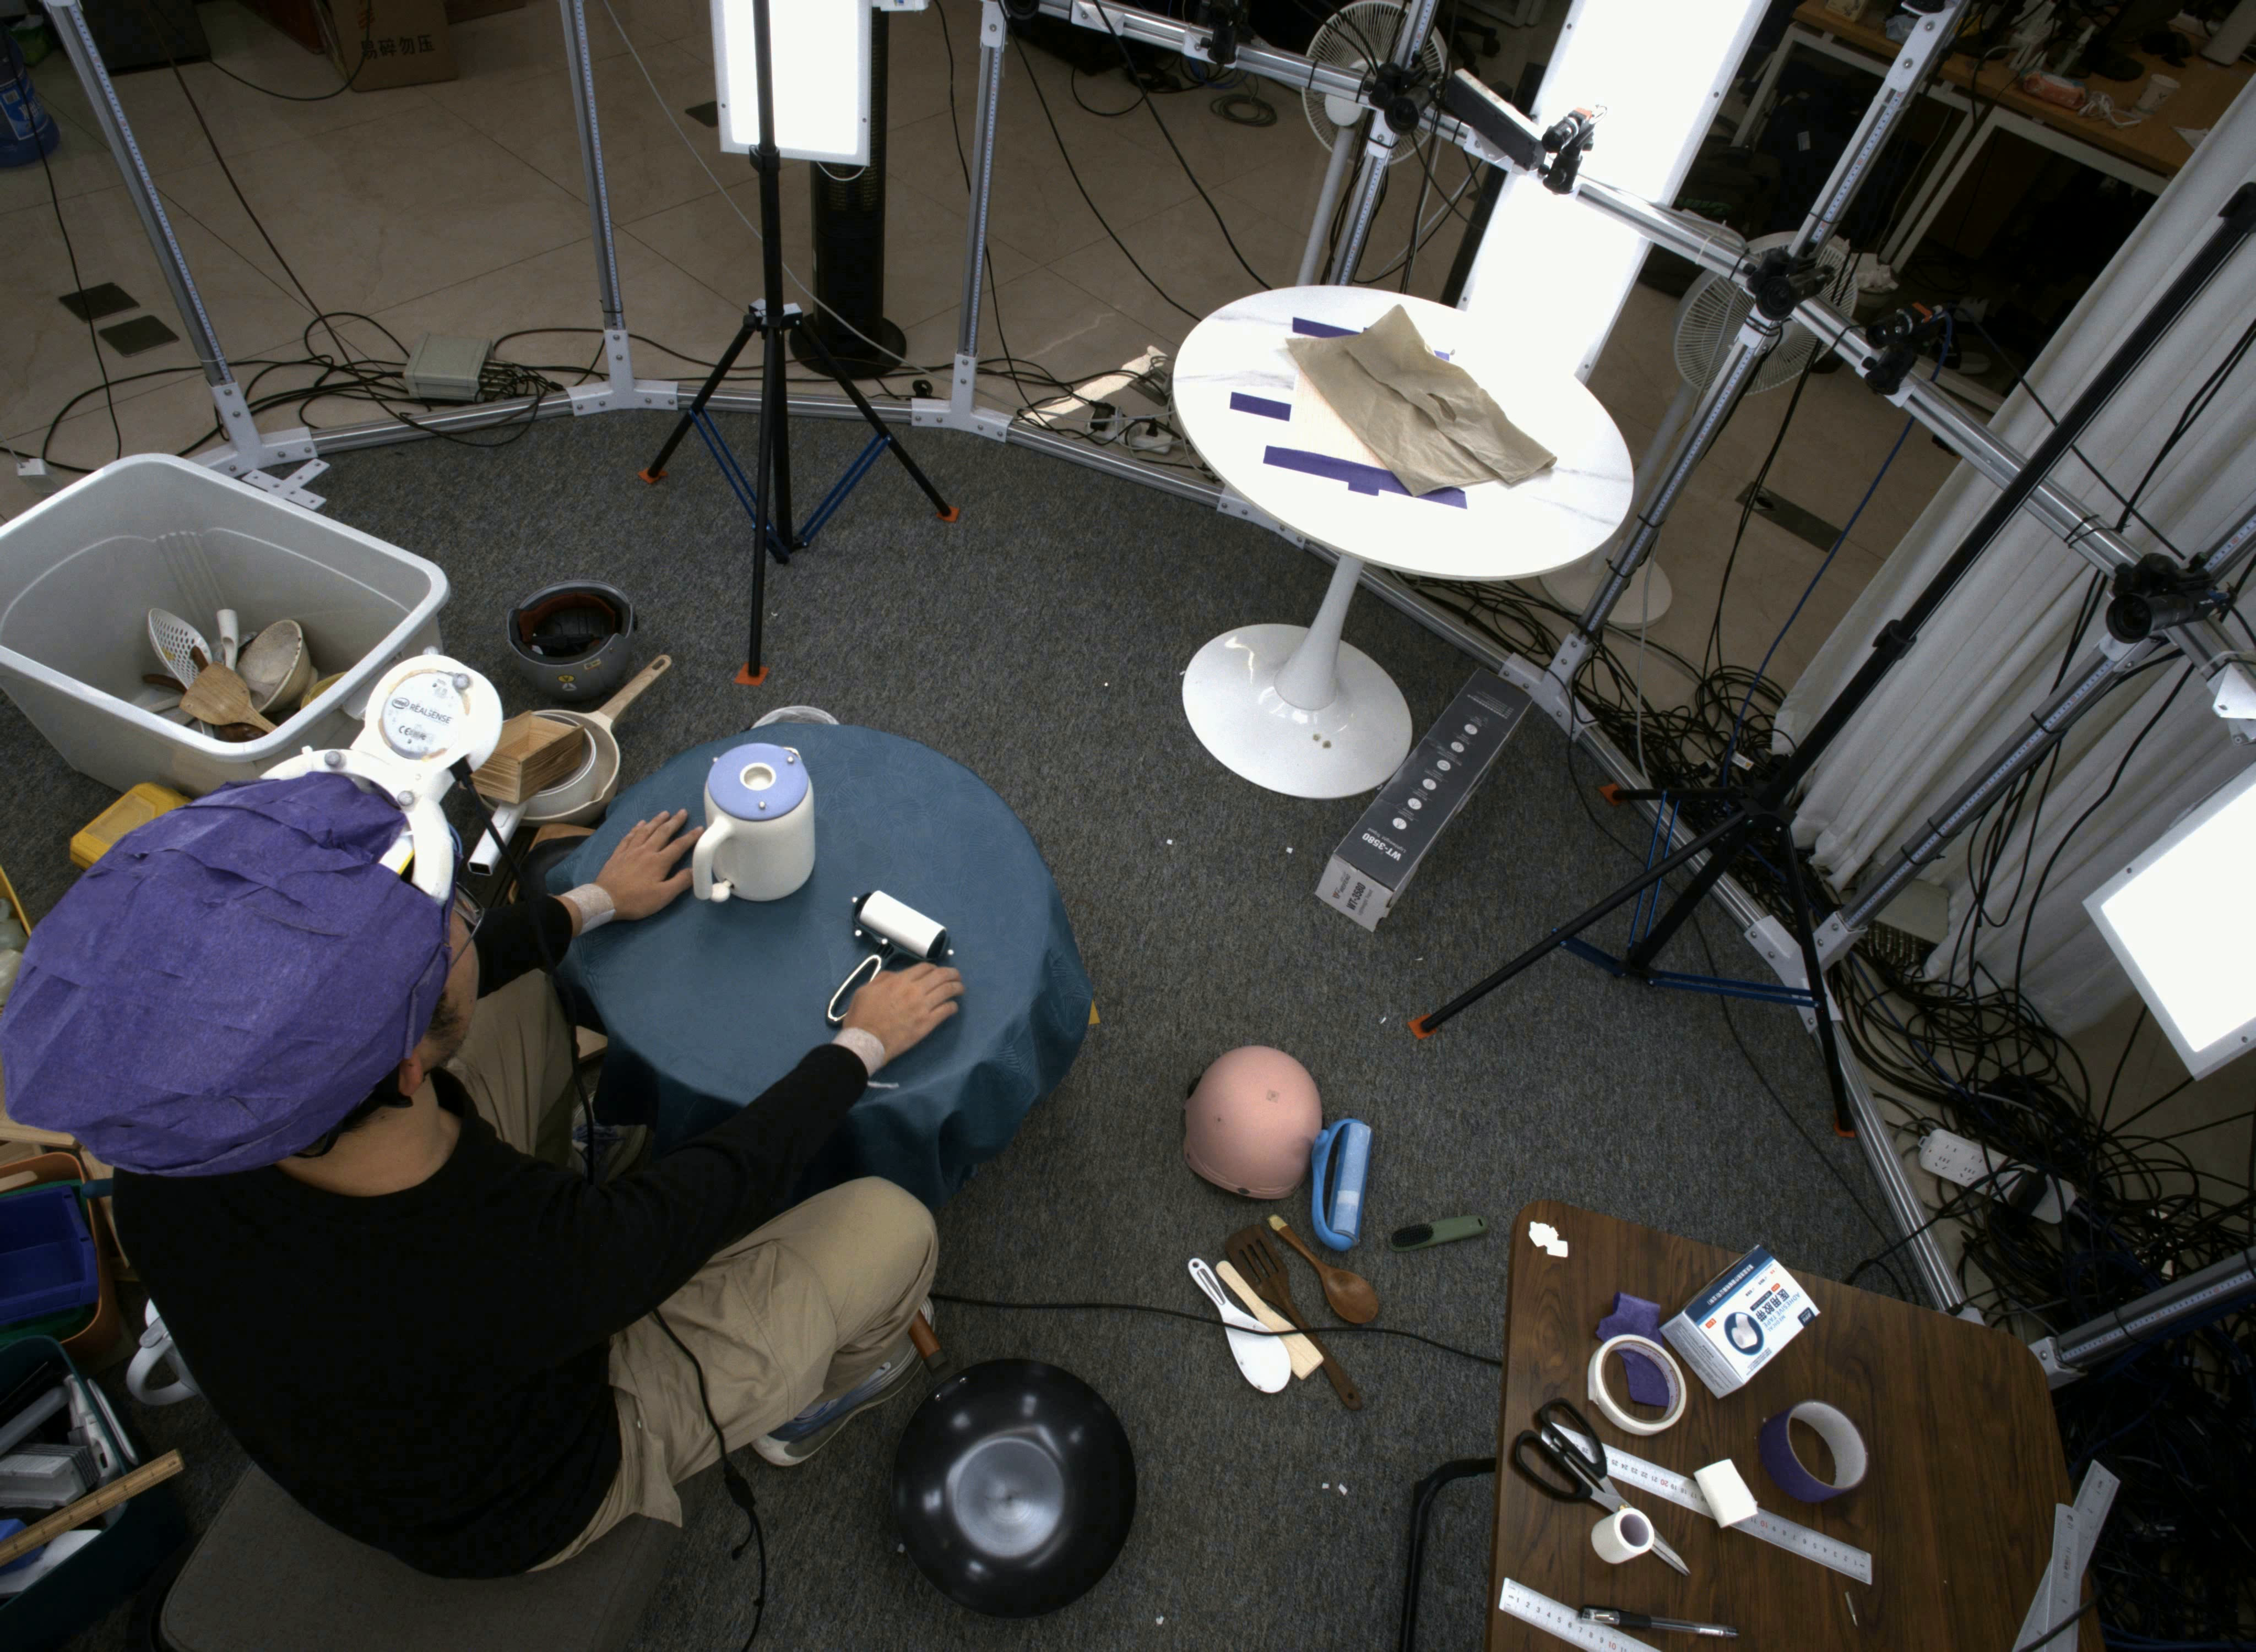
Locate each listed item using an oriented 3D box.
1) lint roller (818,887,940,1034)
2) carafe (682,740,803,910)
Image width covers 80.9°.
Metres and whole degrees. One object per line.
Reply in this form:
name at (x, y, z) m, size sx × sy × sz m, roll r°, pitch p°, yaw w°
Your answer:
lint roller at (-0.326, 0.170, 1.591) m, size 0.132 × 0.049 × 0.179 m, roll 27°, pitch 55°, yaw 7°
carafe at (-0.483, 0.011, 1.584) m, size 0.130 × 0.186 × 0.190 m, roll 27°, pitch 54°, yaw 10°
